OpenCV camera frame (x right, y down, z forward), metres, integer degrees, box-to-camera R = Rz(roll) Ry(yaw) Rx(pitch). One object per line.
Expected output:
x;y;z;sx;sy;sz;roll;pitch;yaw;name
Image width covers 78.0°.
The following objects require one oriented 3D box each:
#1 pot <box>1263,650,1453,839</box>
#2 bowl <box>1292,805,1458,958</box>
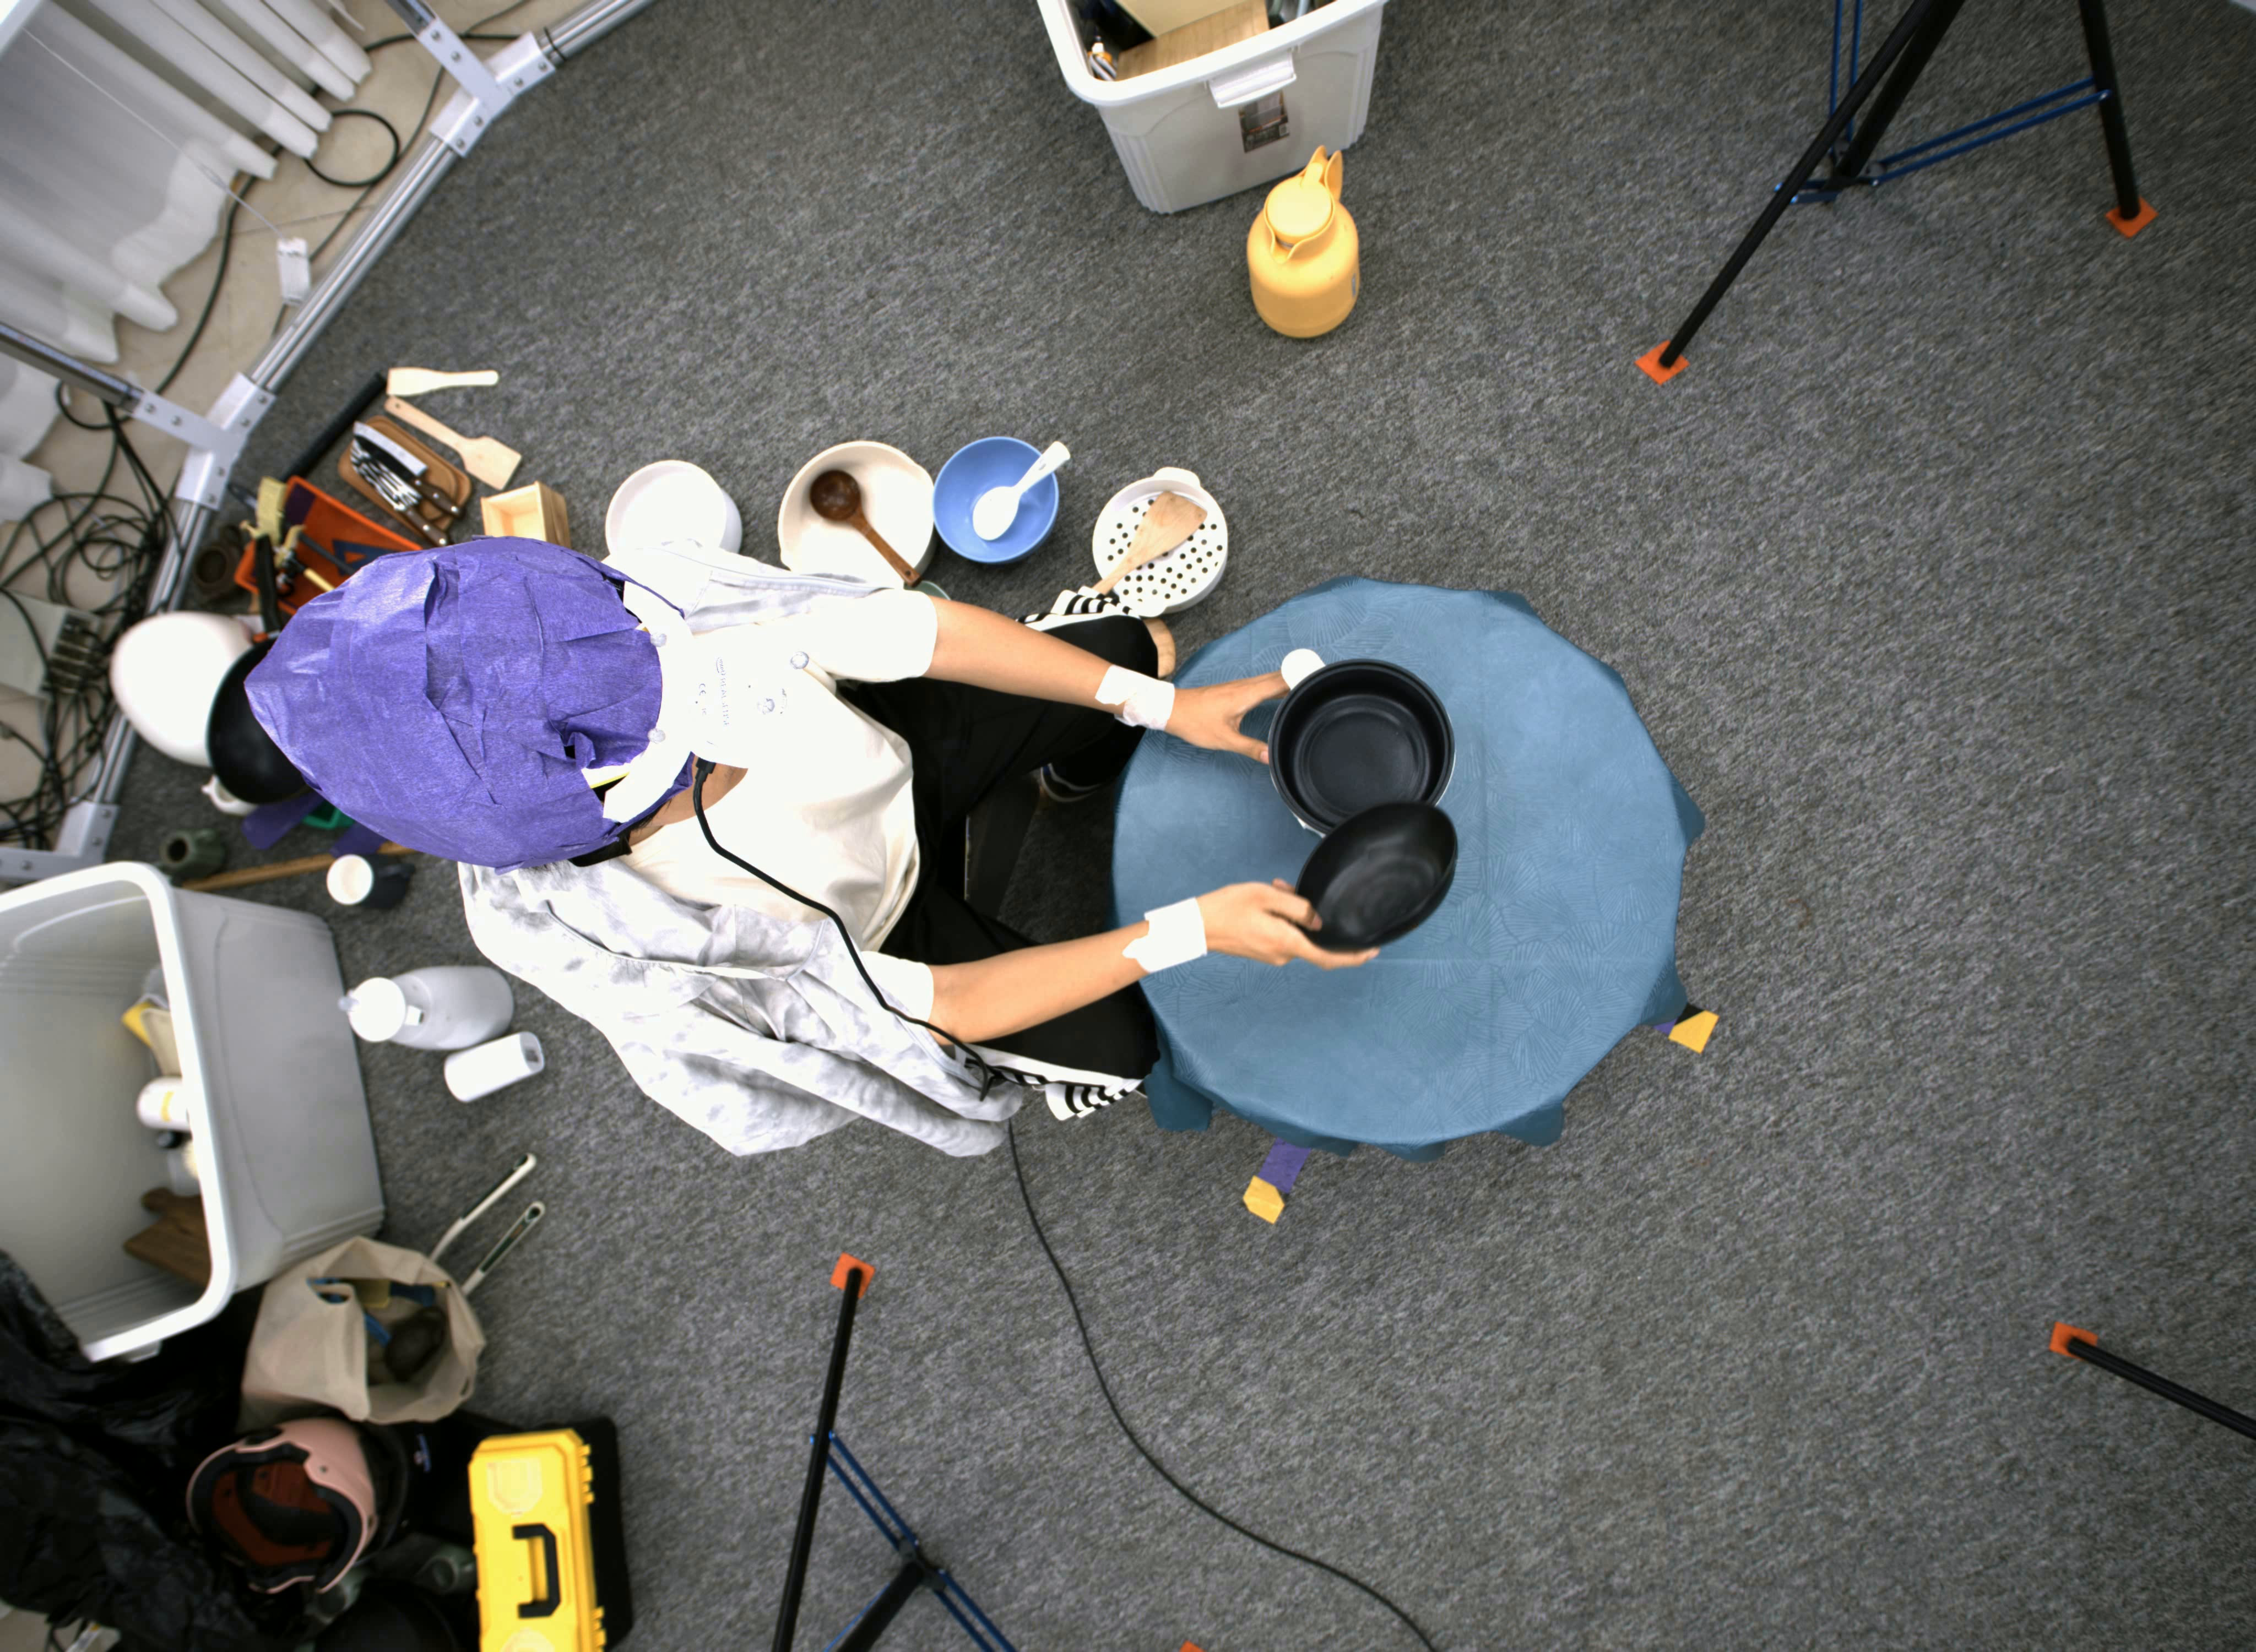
0.240;-0.074;1.402;0.192;0.142;0.239;-37;81;9;pot
0.232;0.060;1.257;0.171;0.067;0.135;-41;43;5;bowl
